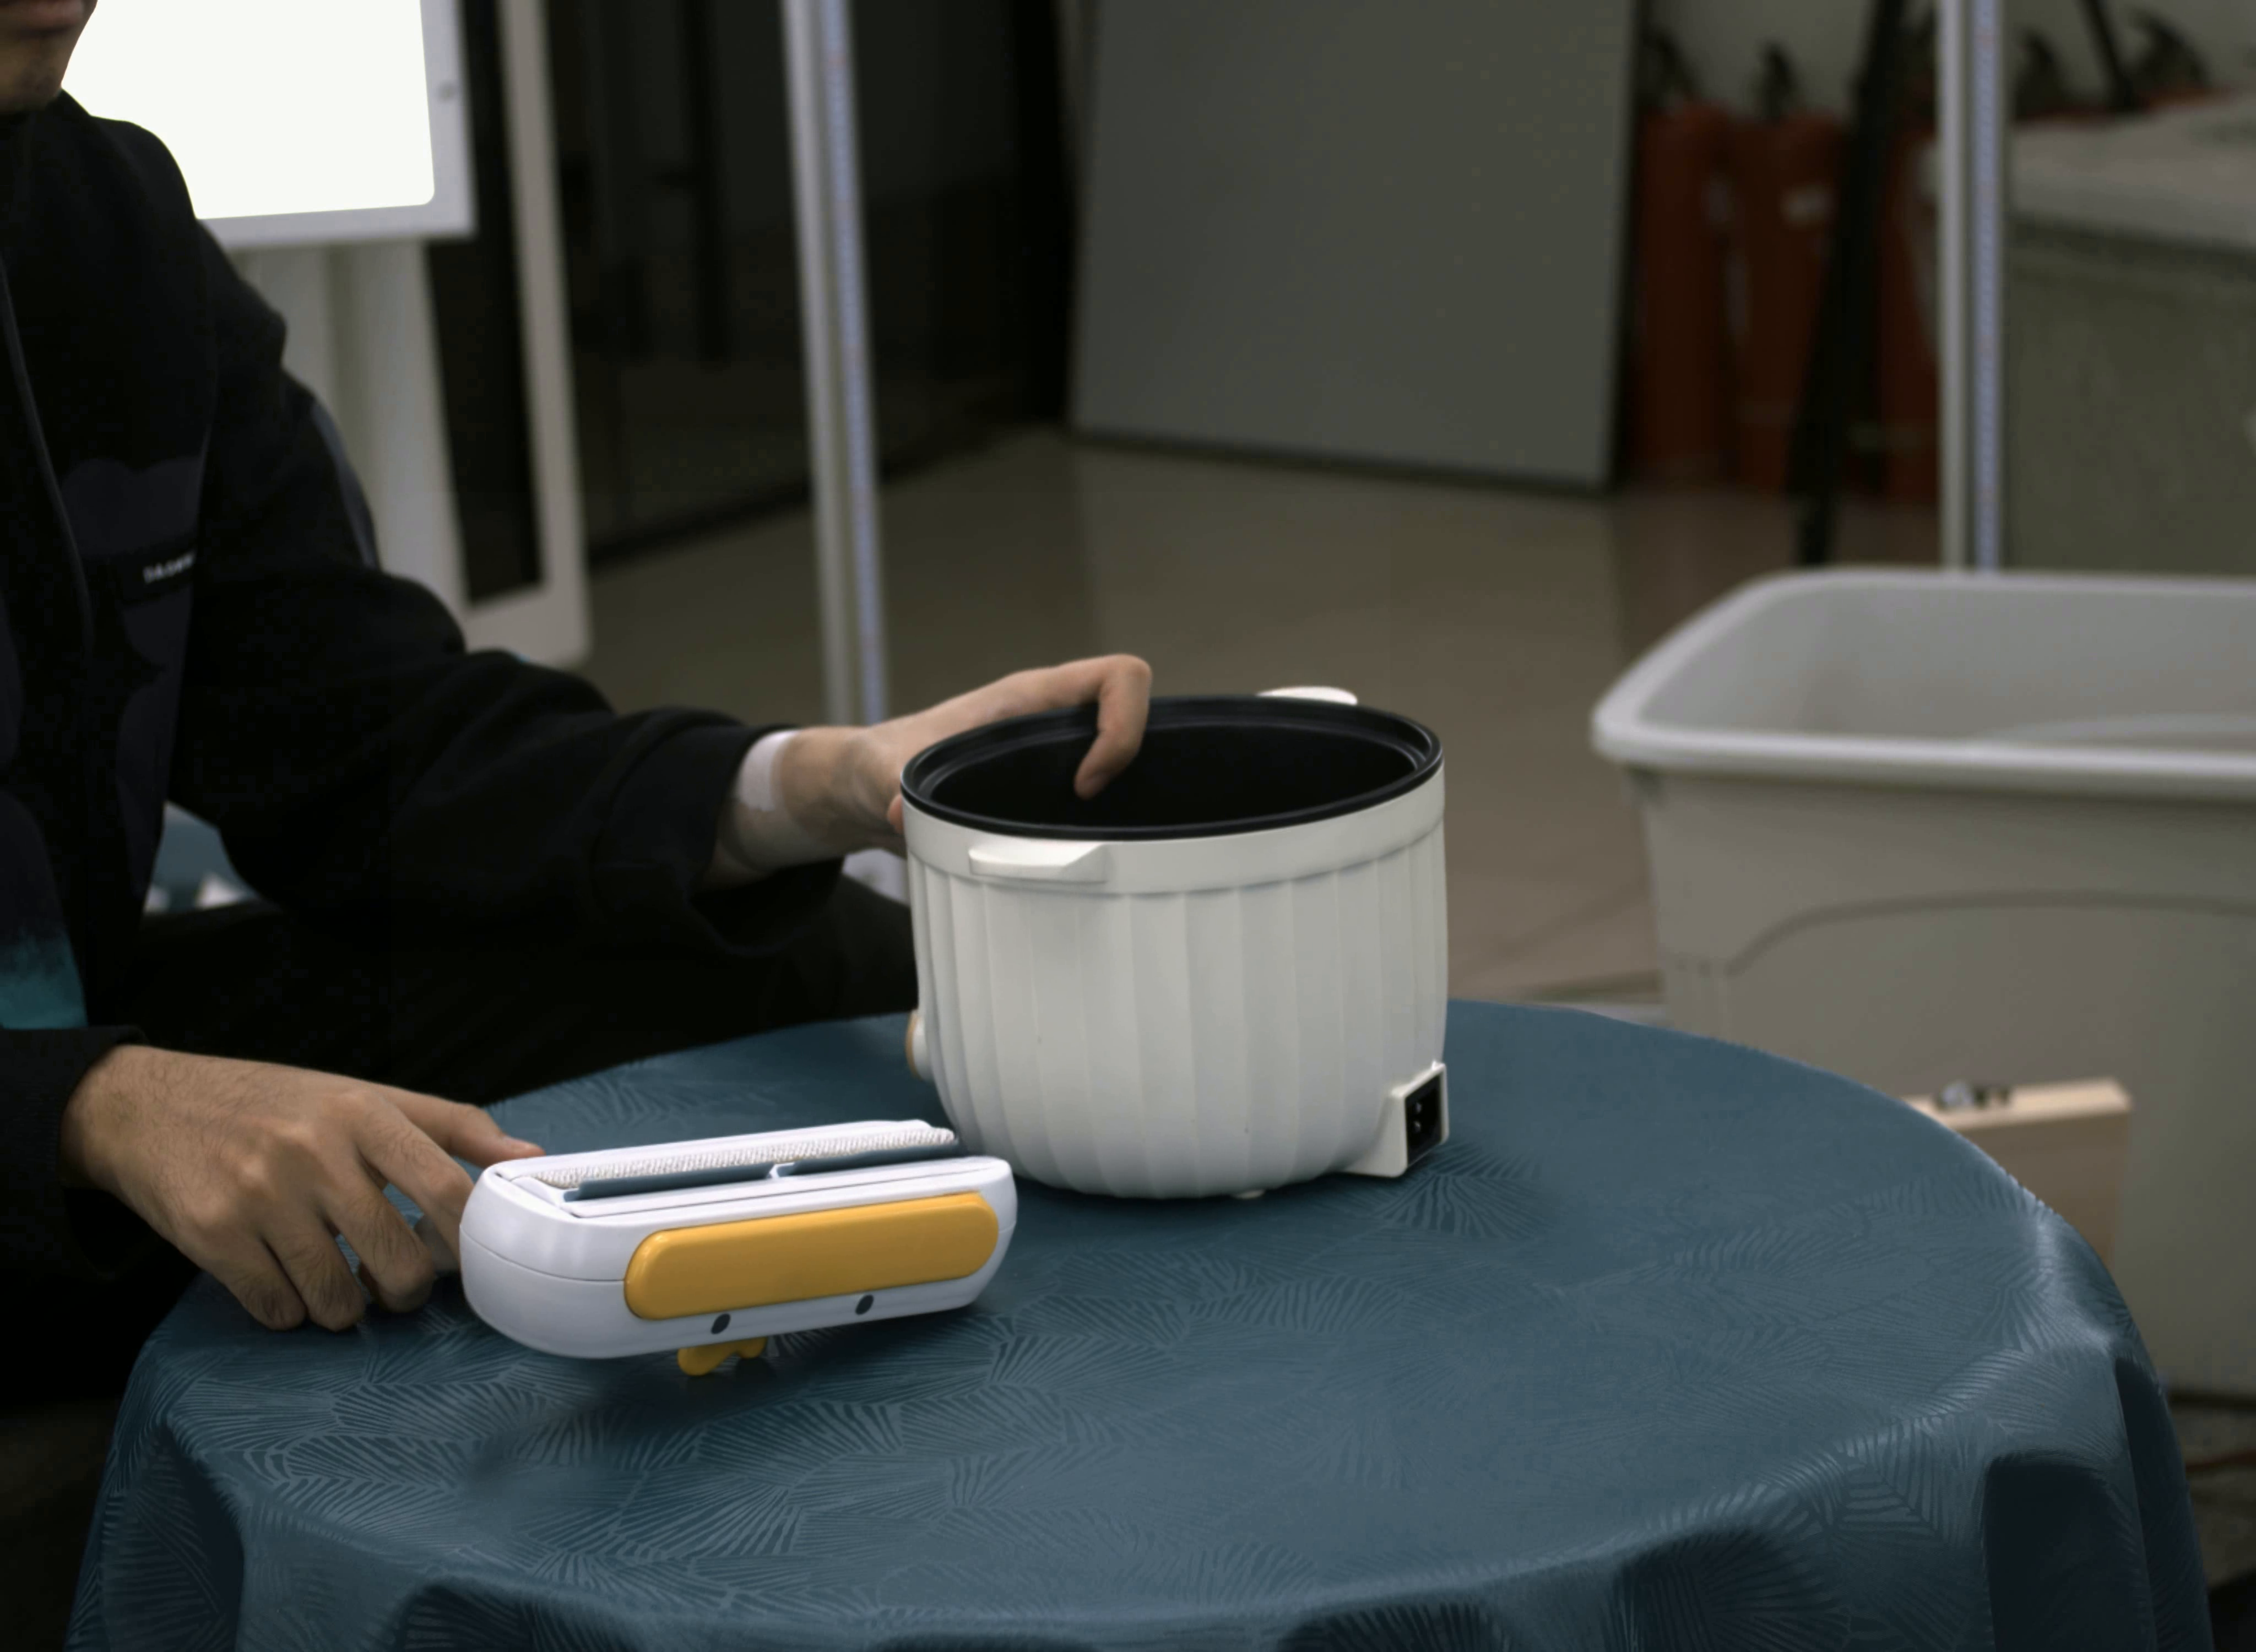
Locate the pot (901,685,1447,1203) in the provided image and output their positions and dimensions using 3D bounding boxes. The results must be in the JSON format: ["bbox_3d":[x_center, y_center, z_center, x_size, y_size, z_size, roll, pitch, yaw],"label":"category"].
[{"bbox_3d":[0.012,0.042,1.797,0.191,0.144,0.237,6,15,26],"label":"pot"}]

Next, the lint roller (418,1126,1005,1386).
[{"bbox_3d":[-0.157,0.124,1.665,0.188,0.075,0.194,-8,12,-39],"label":"lint roller"}]
